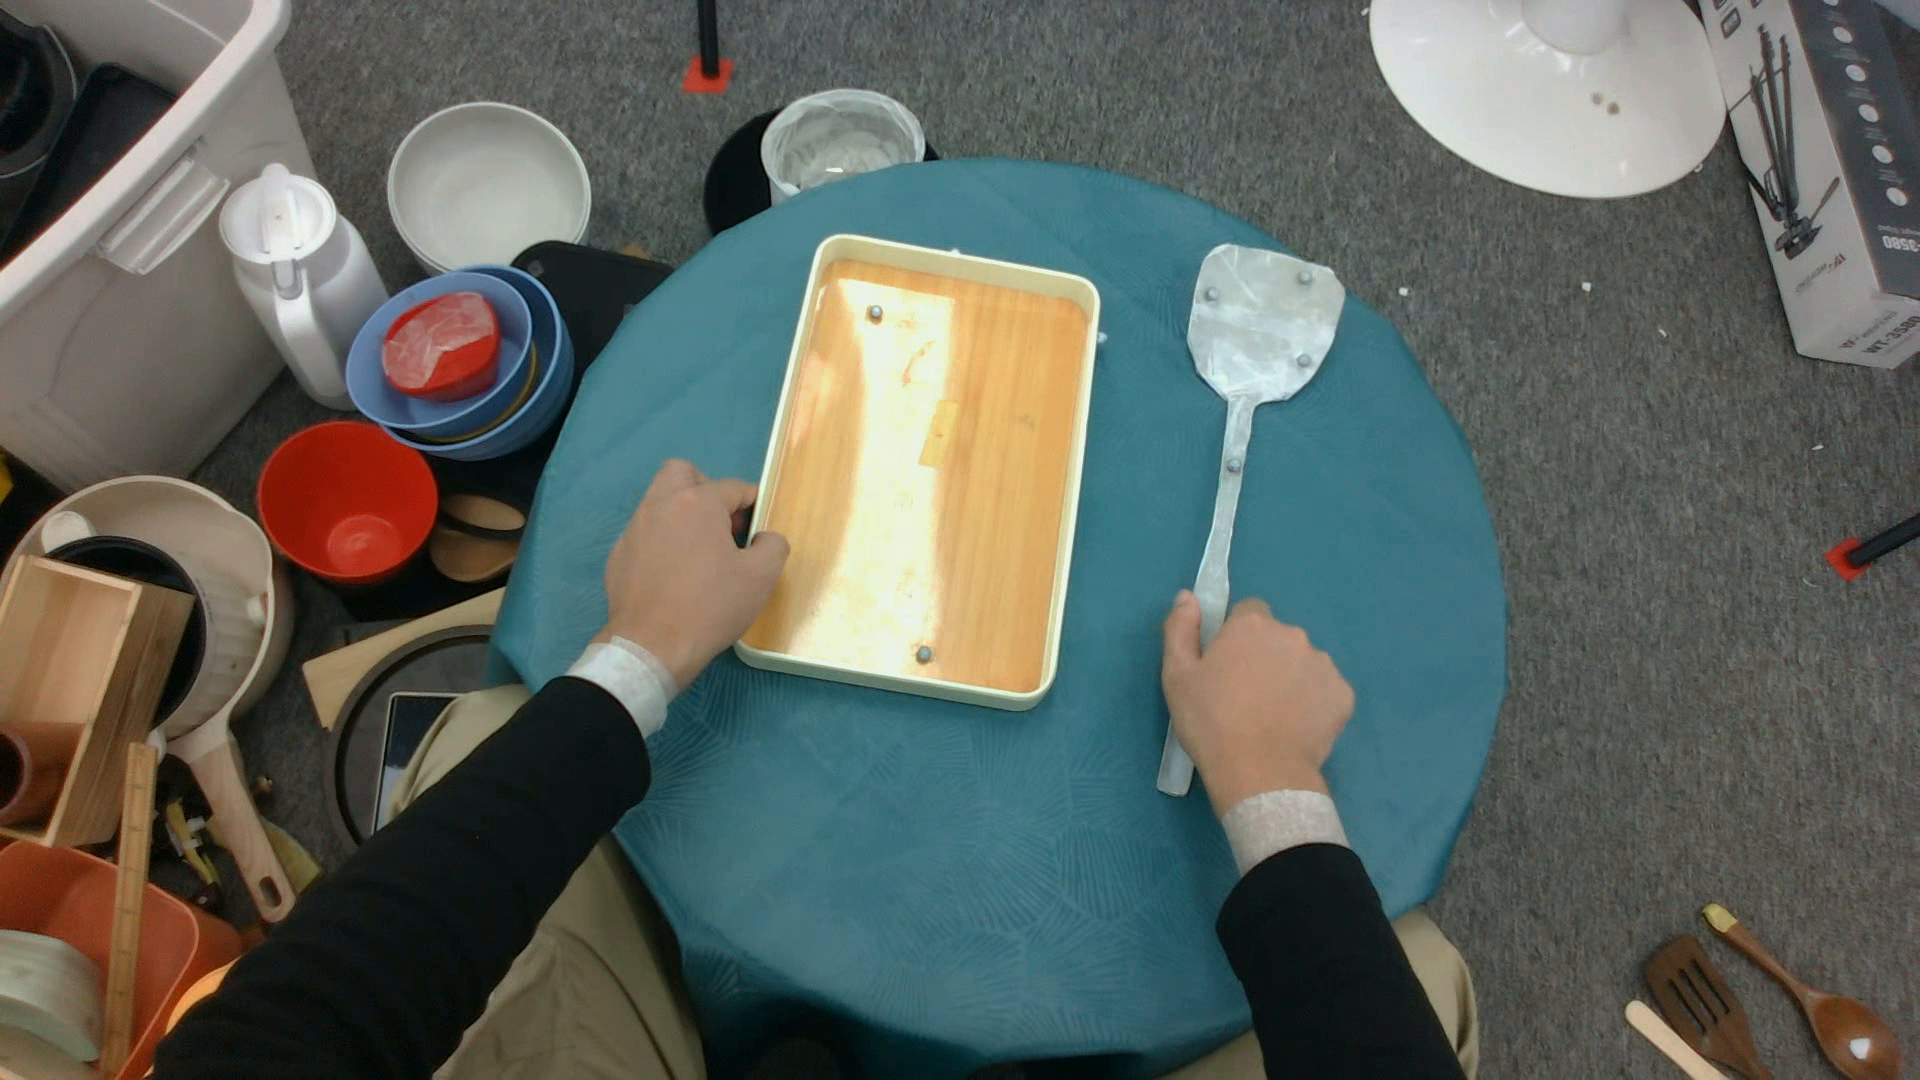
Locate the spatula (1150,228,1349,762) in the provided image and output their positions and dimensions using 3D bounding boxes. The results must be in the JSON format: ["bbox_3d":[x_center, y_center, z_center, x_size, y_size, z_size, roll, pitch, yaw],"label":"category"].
[{"bbox_3d":[0.168,-0.035,0.853,0.099,0.044,0.366,16,64,0],"label":"spatula"}]

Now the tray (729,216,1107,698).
[{"bbox_3d":[-0.019,-0.060,0.850,0.191,0.027,0.301,11,64,-2],"label":"tray"}]
